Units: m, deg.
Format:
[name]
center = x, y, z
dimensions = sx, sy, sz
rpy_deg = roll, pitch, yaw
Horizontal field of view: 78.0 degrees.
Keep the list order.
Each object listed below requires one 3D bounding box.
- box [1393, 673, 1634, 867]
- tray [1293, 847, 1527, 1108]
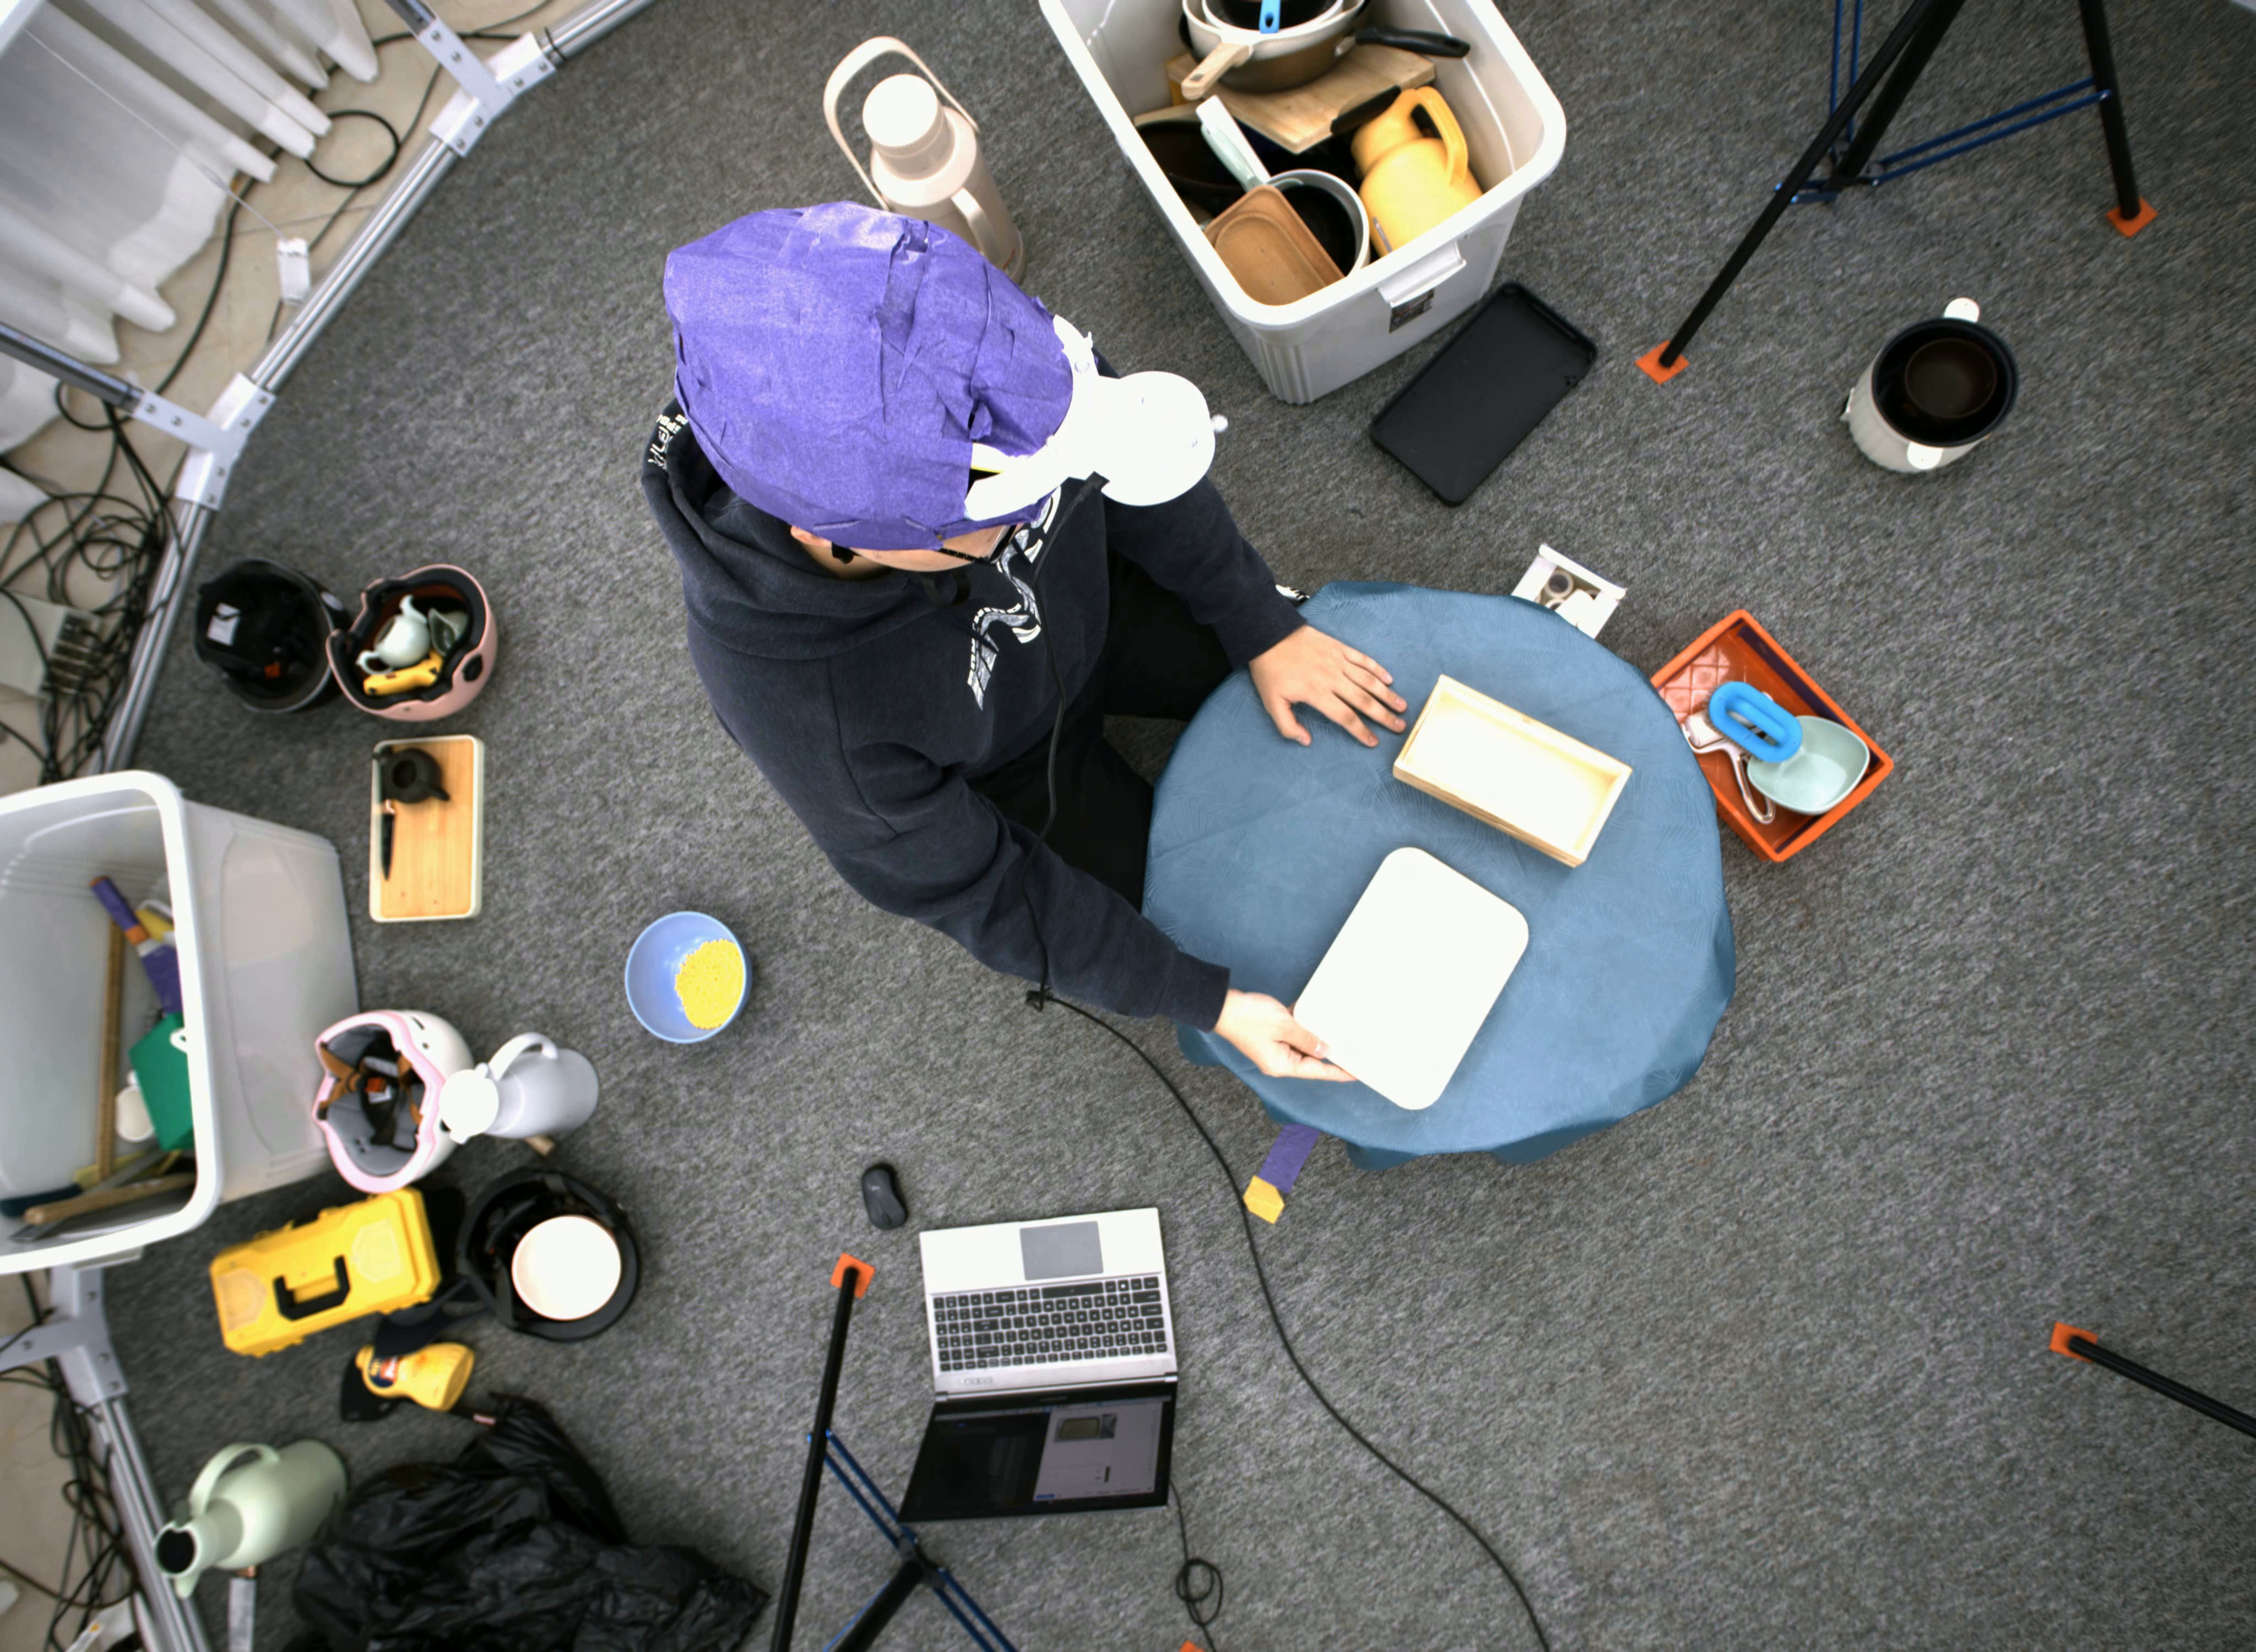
[box]
center = 0.390, -0.059, 1.405
dimensions = 0.211, 0.080, 0.107
rpy_deg = 28, 90, 11
[tray]
center = 0.289, 0.152, 1.414
dimensions = 0.171, 0.017, 0.237
rpy_deg = 33, 81, 5
